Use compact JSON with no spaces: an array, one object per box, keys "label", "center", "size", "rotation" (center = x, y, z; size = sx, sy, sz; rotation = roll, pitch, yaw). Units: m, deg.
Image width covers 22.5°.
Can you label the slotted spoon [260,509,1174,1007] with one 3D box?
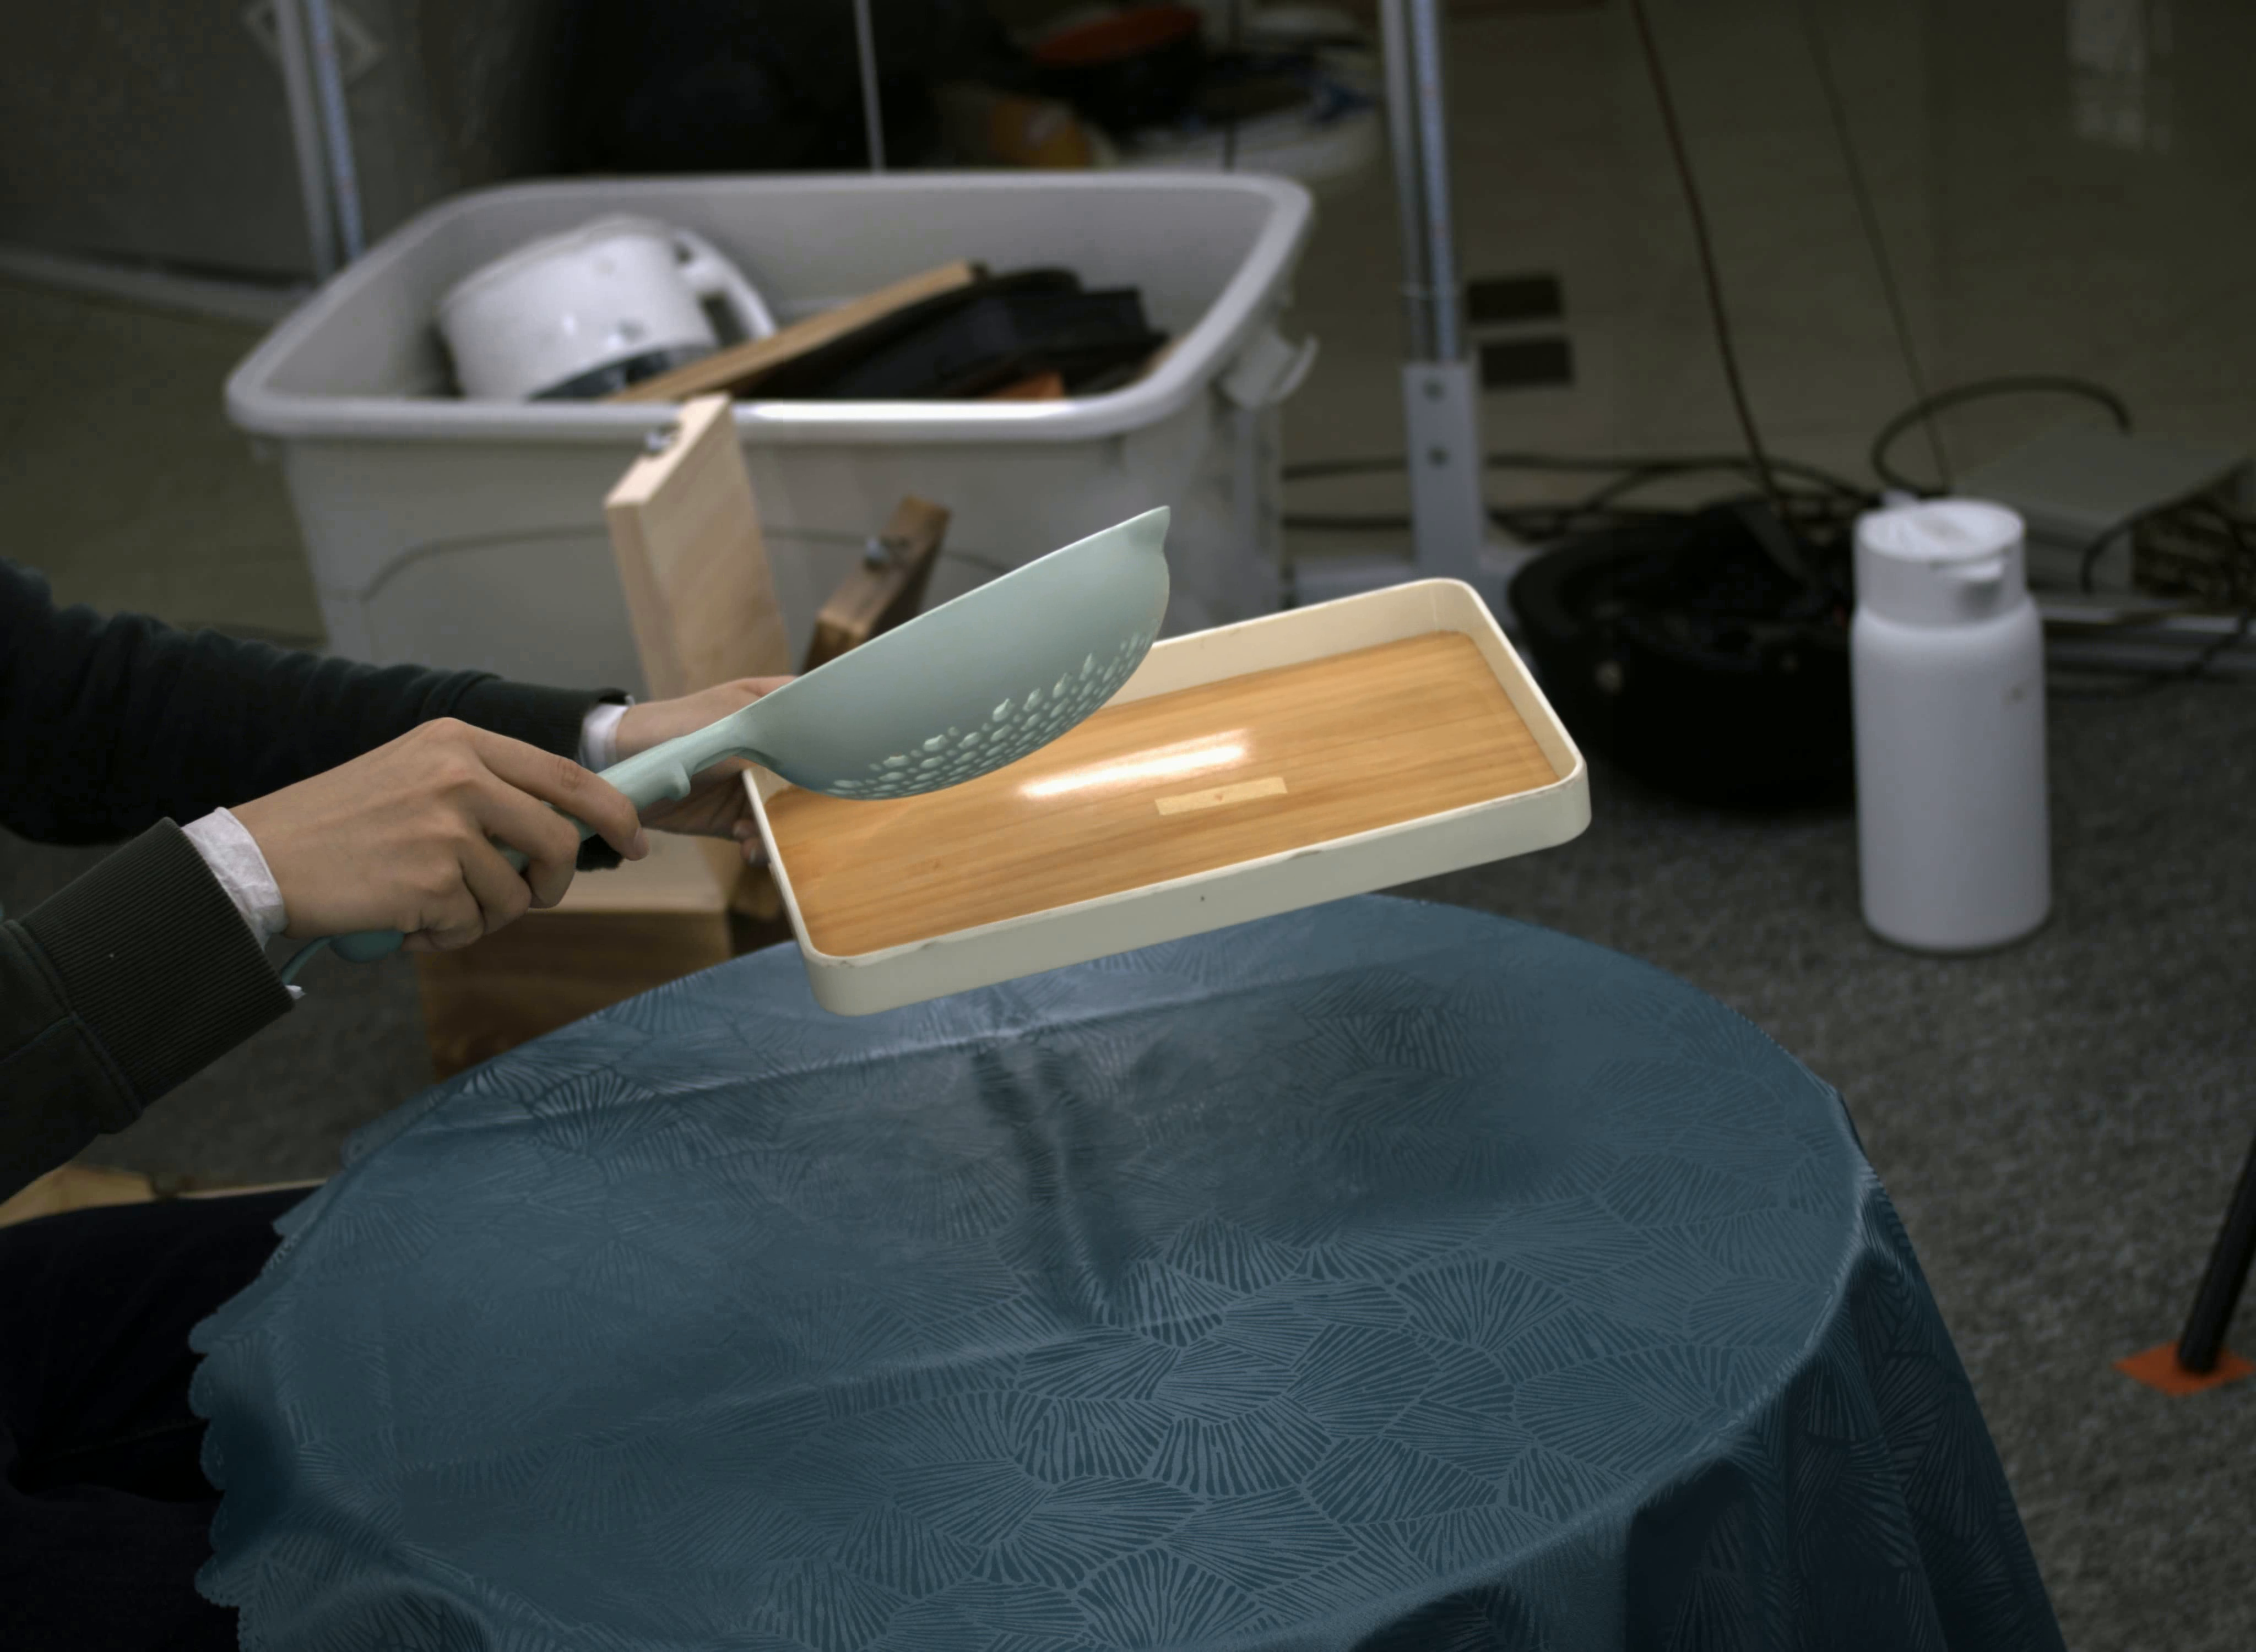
[{"label":"slotted spoon","center":[-0.141,-0.024,1.963],"size":[0.357,0.075,0.170],"rotation":[-17,-4,-20]}]

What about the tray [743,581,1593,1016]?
[{"label":"tray","center":[0.012,-0.013,2.156],"size":[0.299,0.028,0.188],"rotation":[-13,29,-6]}]
